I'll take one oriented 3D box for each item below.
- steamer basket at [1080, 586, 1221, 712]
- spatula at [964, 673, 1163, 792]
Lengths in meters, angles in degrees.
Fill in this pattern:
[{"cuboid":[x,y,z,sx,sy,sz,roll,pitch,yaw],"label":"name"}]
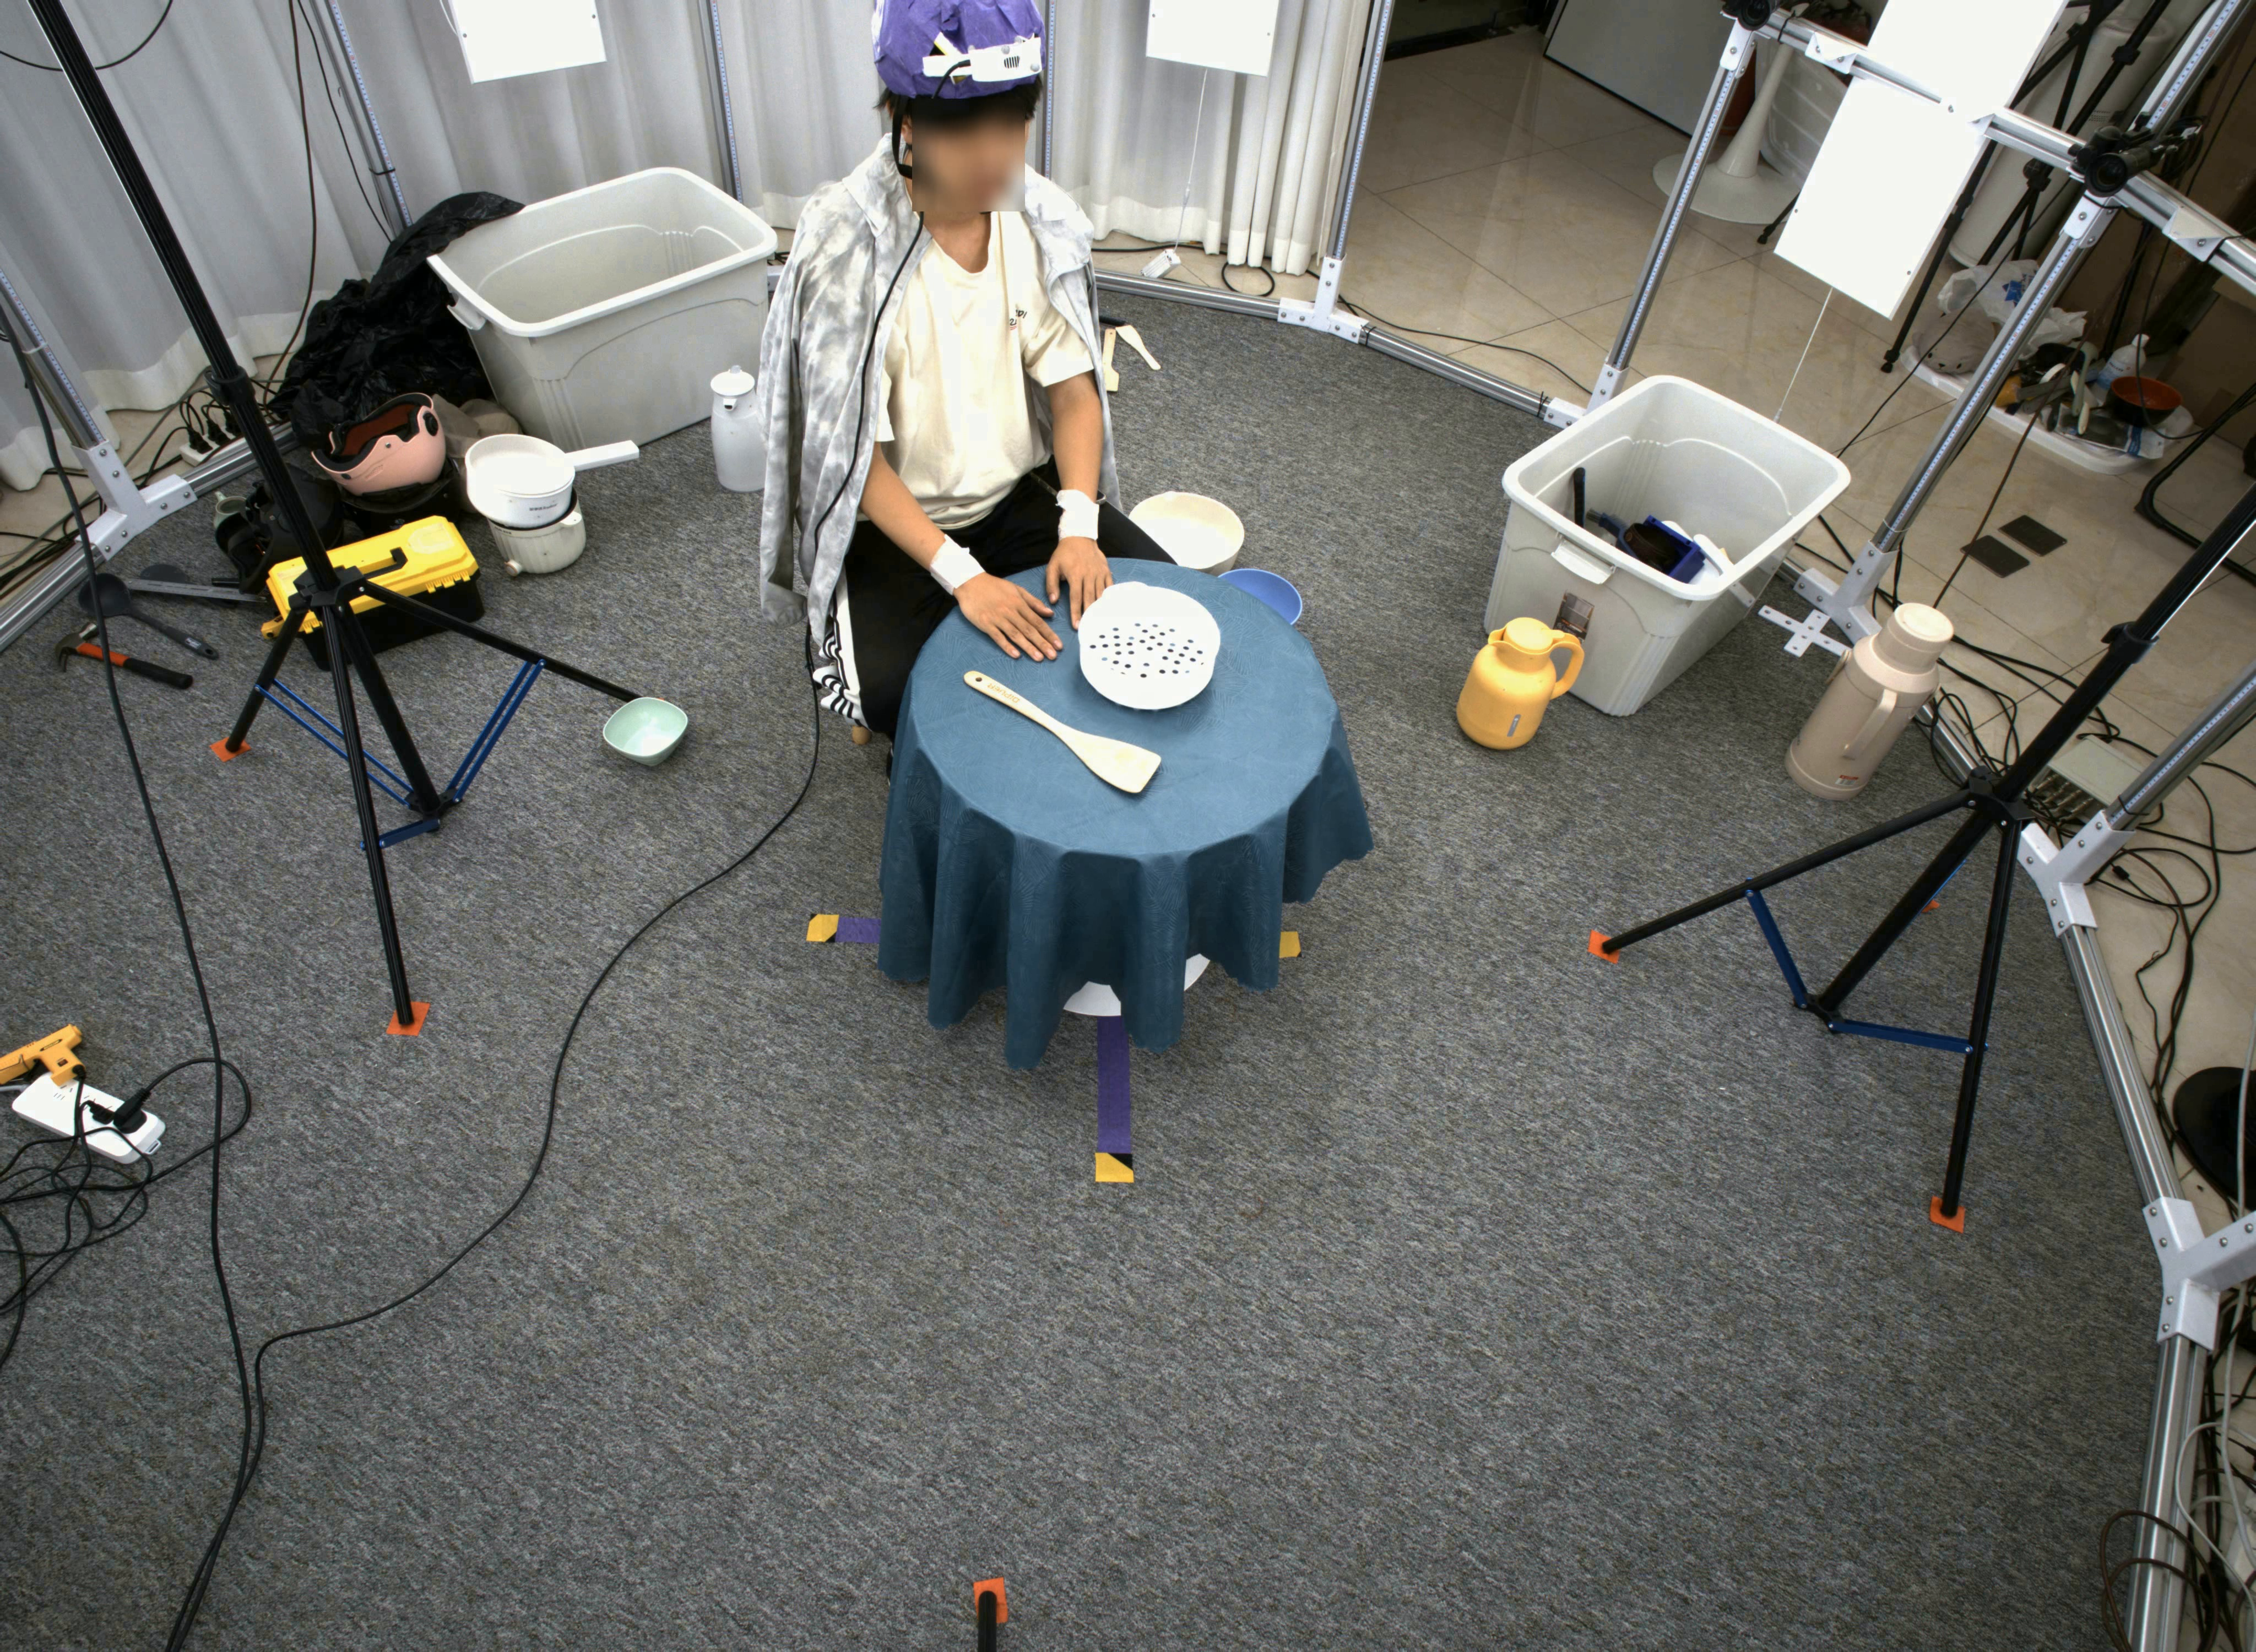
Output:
[{"cuboid":[0.030,-0.250,1.838,0.202,0.067,0.236,-12,50,-16],"label":"steamer basket"},{"cuboid":[-0.095,-0.139,1.763,0.331,0.016,0.081,30,53,22],"label":"spatula"}]
